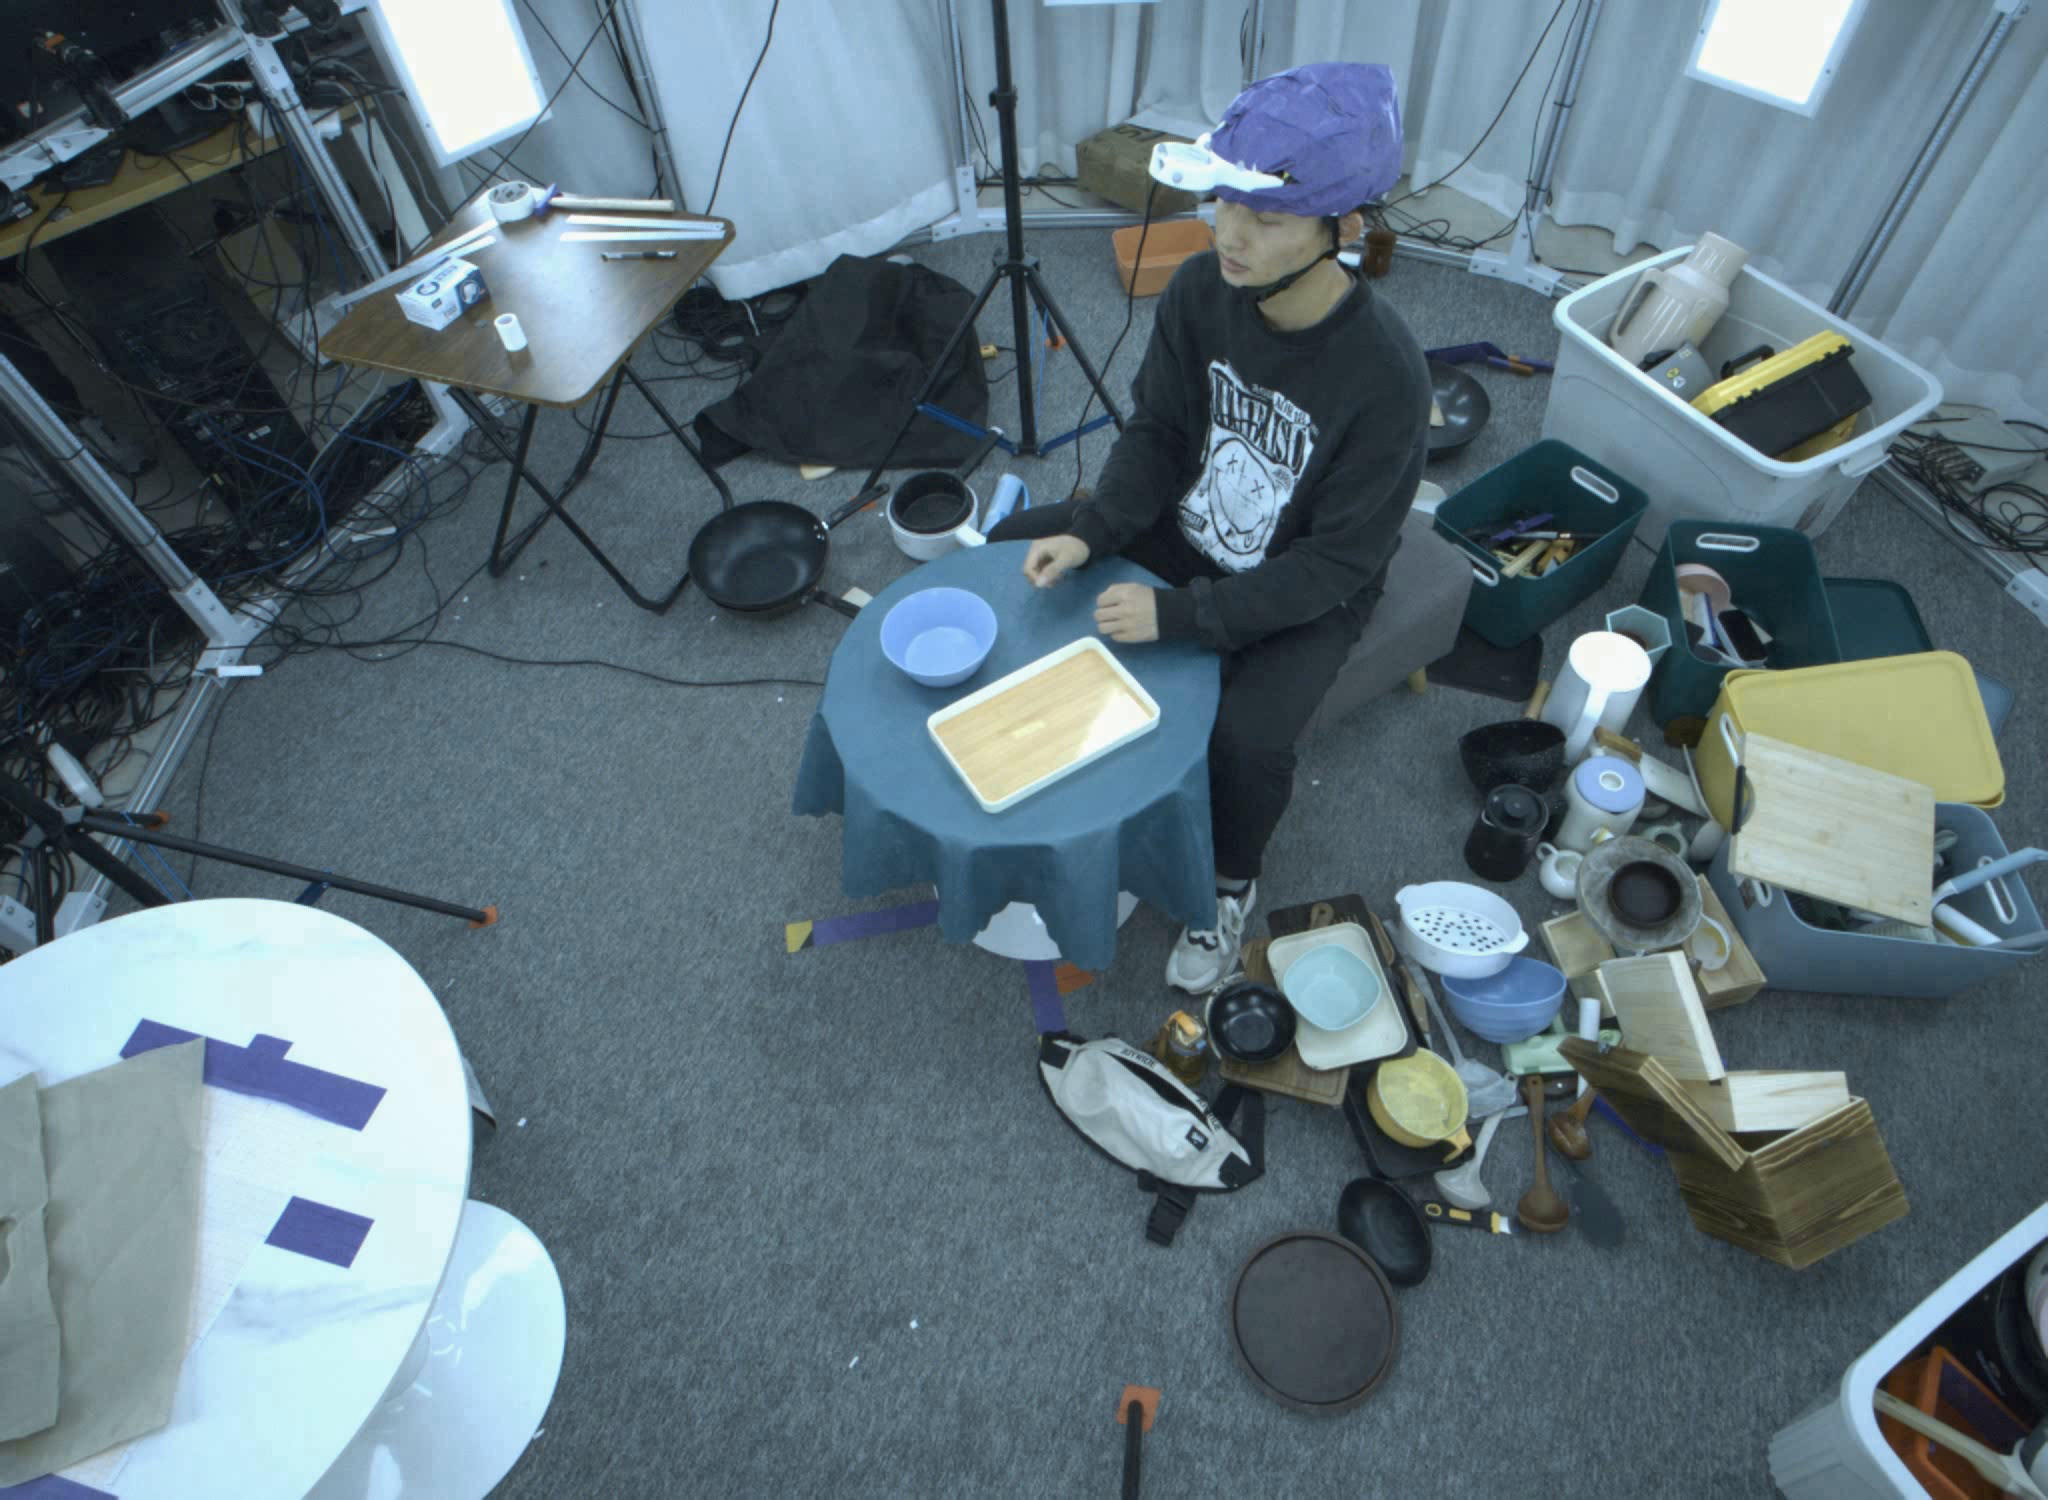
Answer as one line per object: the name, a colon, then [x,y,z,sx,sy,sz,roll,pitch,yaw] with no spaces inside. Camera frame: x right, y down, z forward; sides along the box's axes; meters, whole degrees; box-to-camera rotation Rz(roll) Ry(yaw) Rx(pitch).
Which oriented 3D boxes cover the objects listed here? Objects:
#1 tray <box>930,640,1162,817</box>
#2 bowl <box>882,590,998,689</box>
tray: [0.032,-0.036,1.806,0.302,0.028,0.188,-28,58,-17]
bowl: [-0.125,-0.158,1.869,0.176,0.071,0.174,0,56,1]
